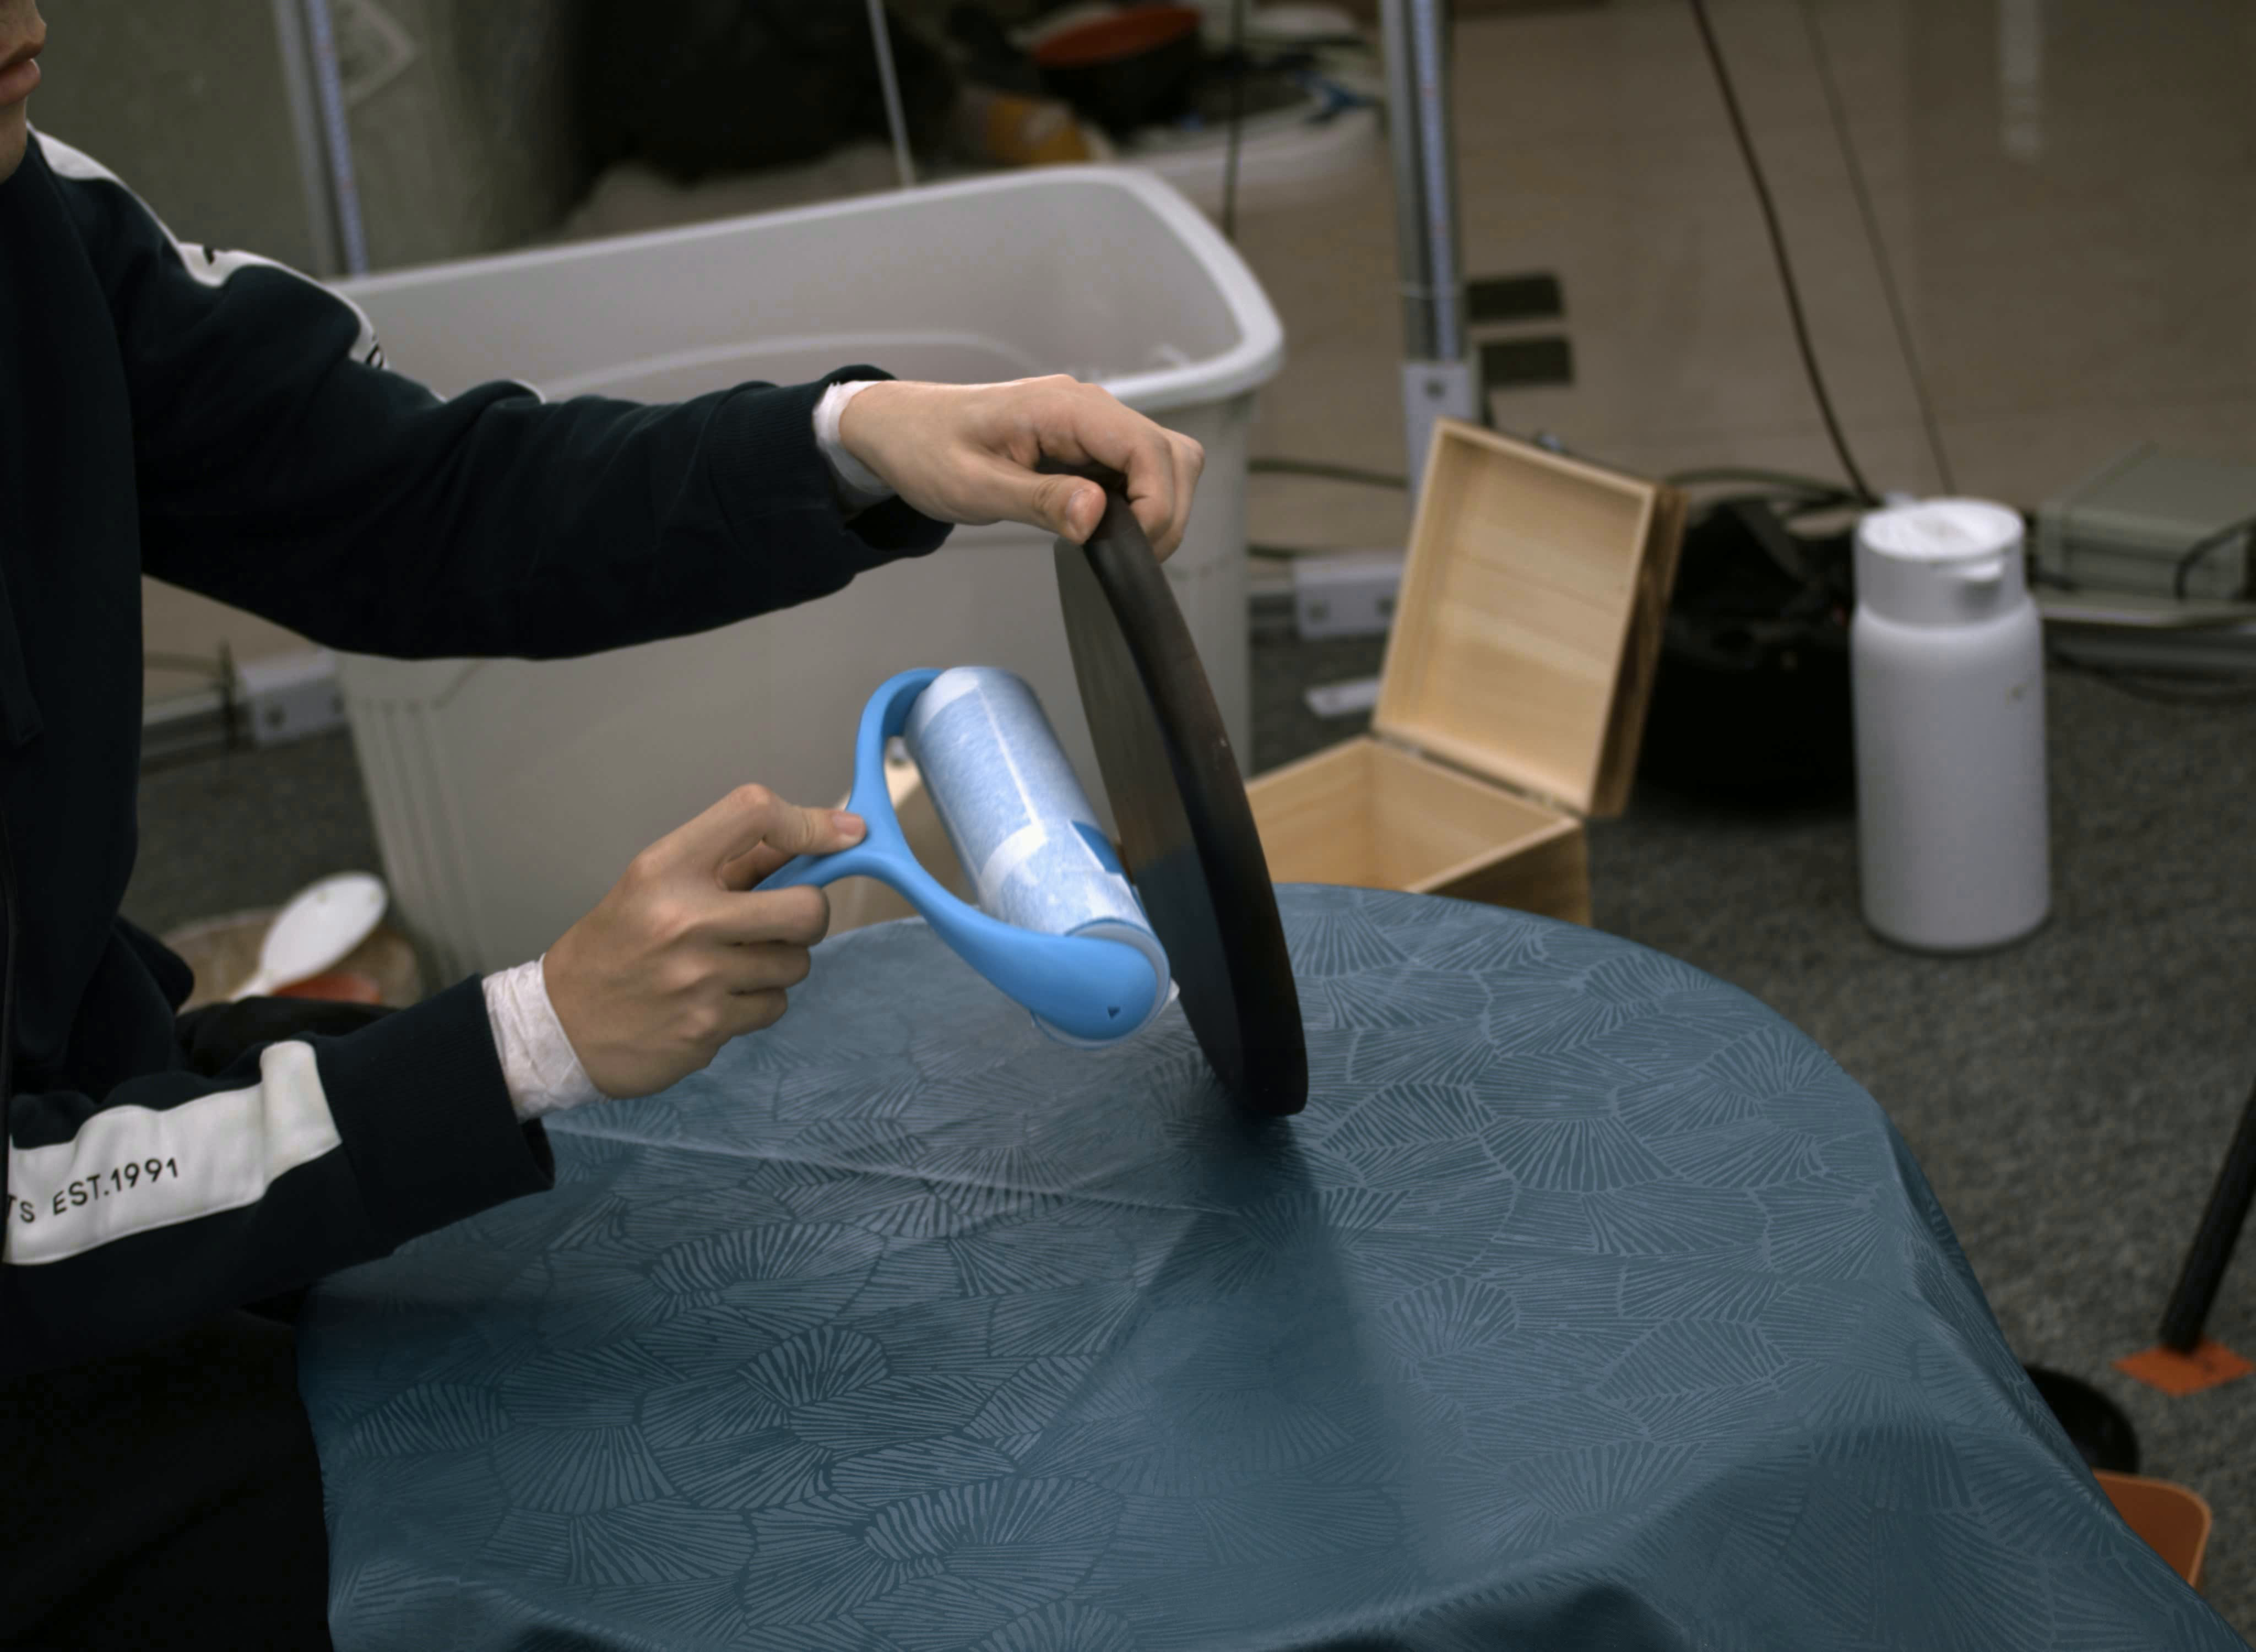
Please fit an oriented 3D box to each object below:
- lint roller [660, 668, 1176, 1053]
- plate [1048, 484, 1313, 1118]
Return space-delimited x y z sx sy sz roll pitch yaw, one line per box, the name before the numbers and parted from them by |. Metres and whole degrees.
lint roller | -0.091 0.029 2.071 0.180 0.069 0.225 -19 37 -9
plate | 0.018 -0.008 2.155 0.029 0.259 0.251 -18 27 -8
